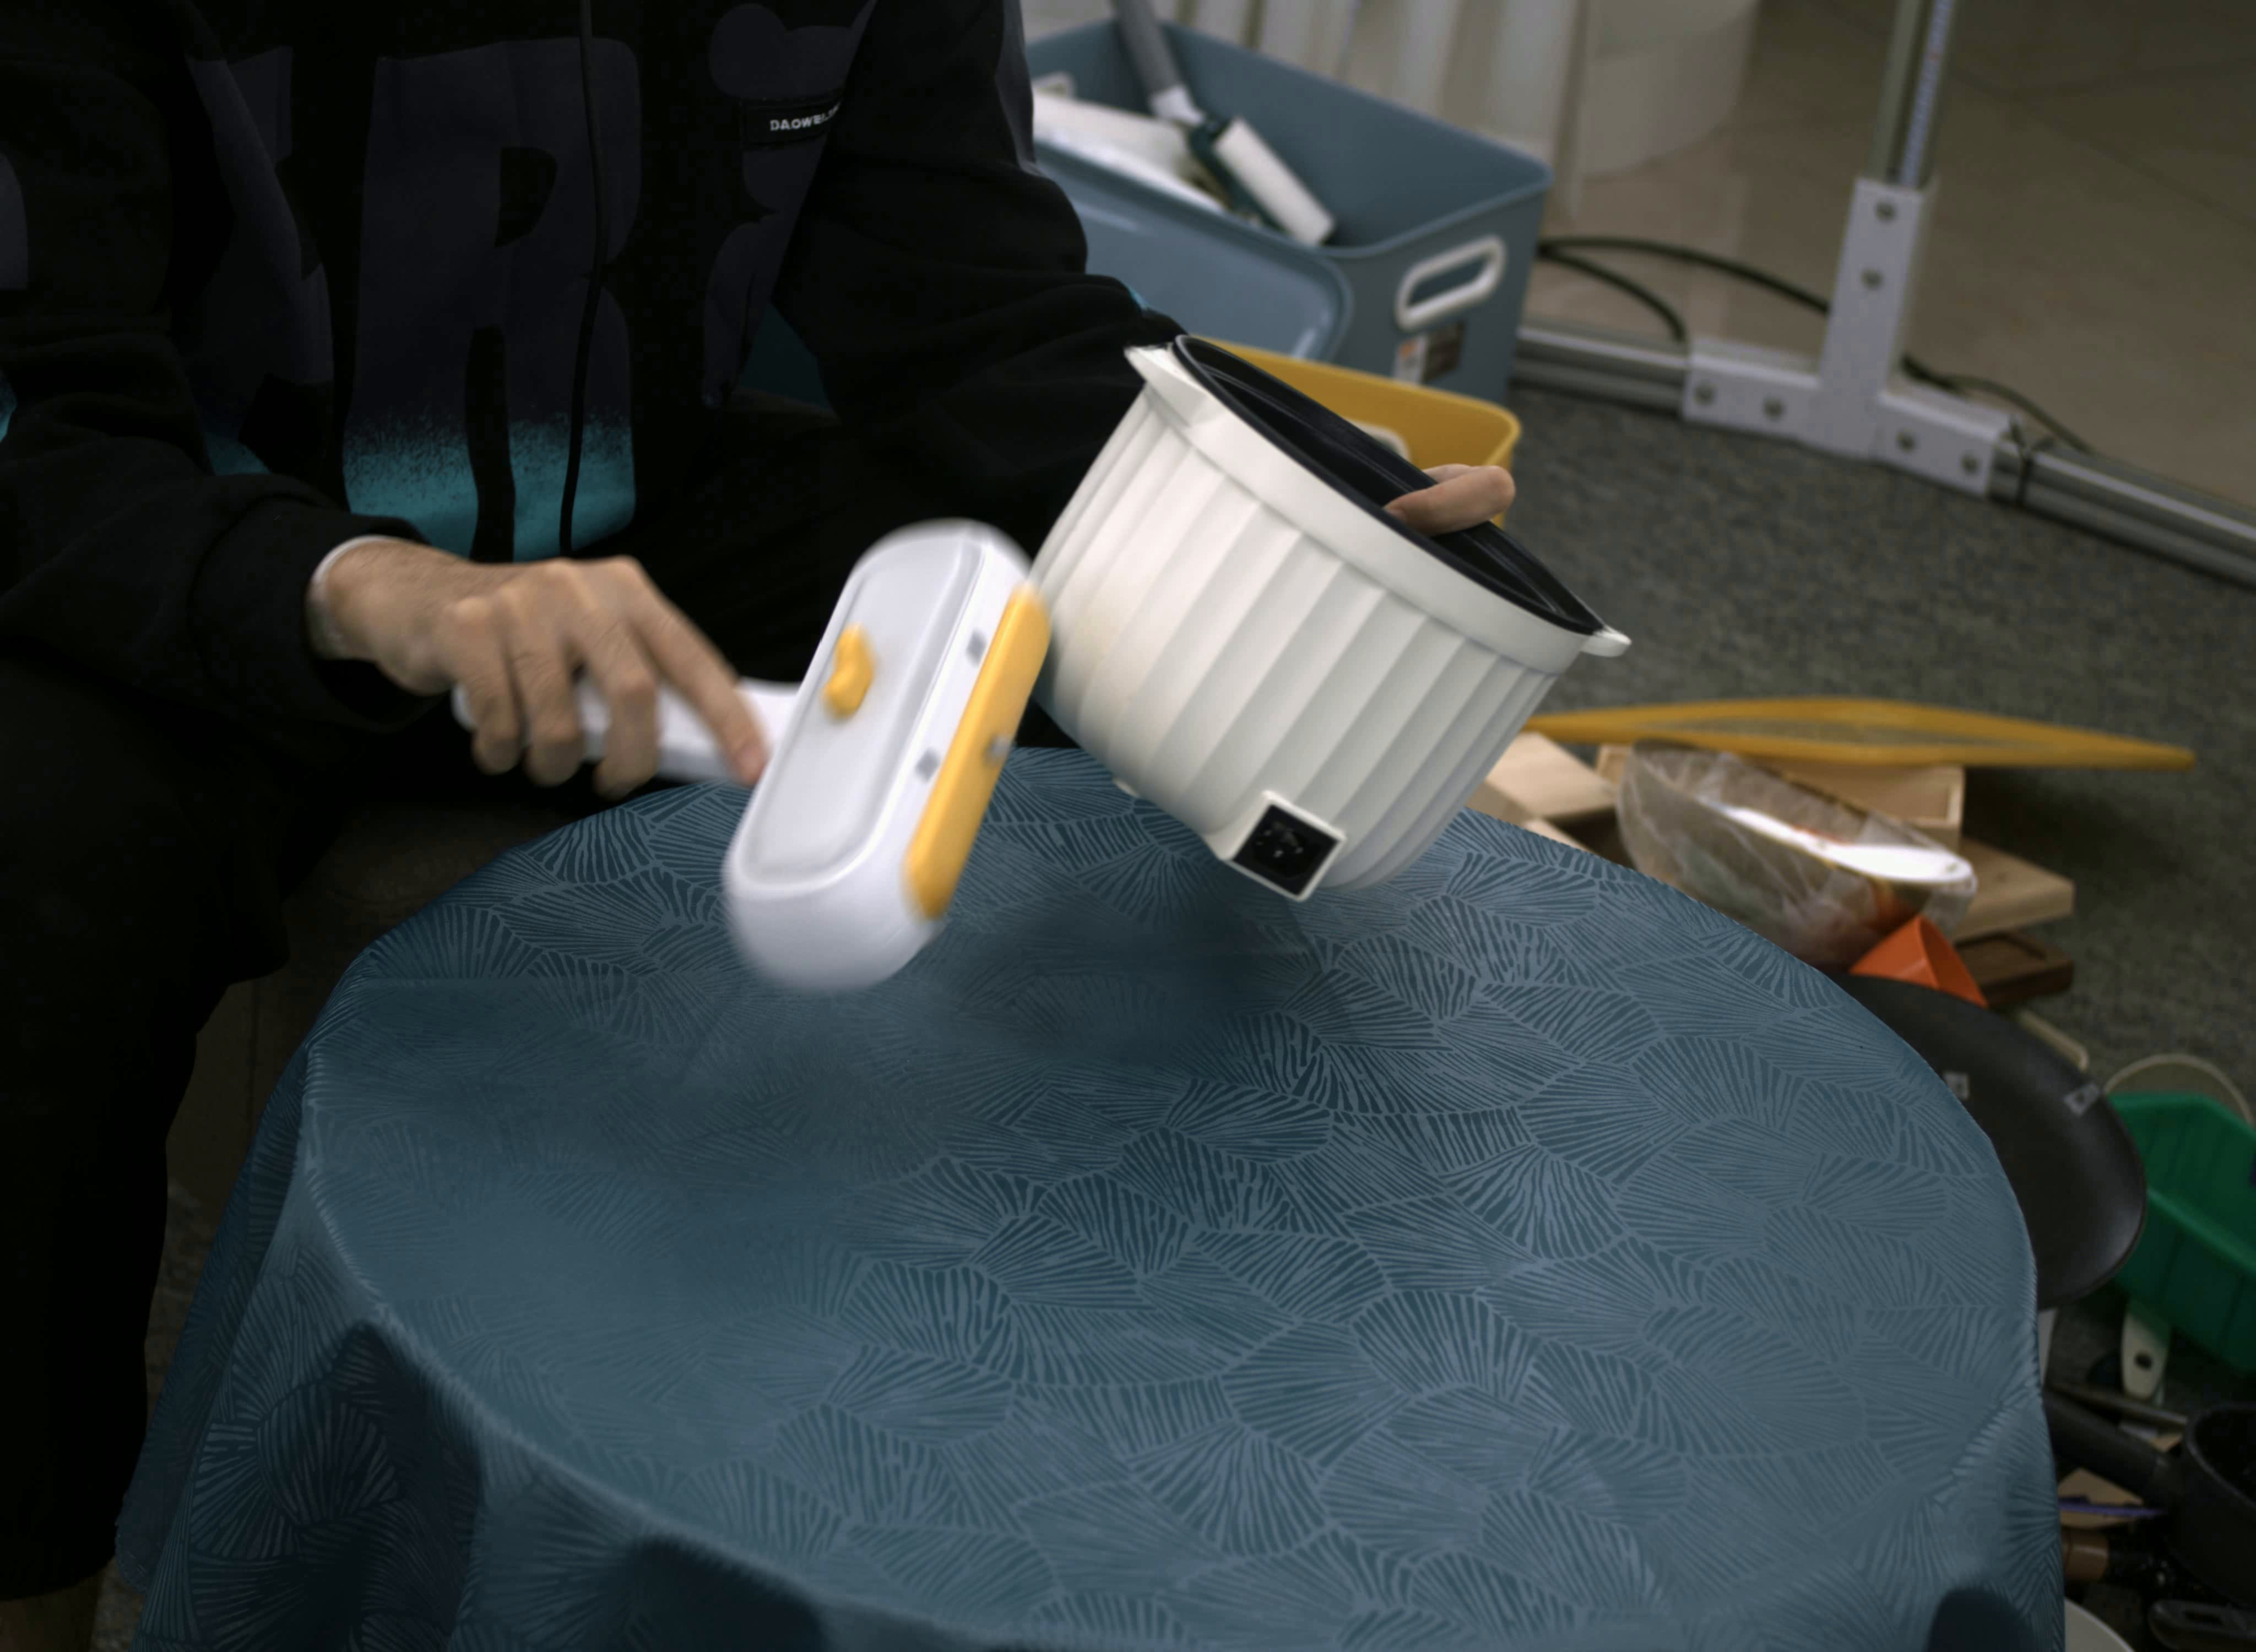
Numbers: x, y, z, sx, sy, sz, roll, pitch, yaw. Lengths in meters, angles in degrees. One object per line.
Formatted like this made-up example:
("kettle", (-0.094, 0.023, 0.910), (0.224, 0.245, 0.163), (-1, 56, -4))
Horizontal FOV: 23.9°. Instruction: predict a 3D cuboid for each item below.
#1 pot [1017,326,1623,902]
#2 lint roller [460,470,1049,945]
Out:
("pot", (0.049, -0.072, 1.896), (0.238, 0.142, 0.192), (30, 14, -29))
("lint roller", (-0.132, -0.043, 1.815), (0.192, 0.073, 0.194), (-4, 50, 17))
